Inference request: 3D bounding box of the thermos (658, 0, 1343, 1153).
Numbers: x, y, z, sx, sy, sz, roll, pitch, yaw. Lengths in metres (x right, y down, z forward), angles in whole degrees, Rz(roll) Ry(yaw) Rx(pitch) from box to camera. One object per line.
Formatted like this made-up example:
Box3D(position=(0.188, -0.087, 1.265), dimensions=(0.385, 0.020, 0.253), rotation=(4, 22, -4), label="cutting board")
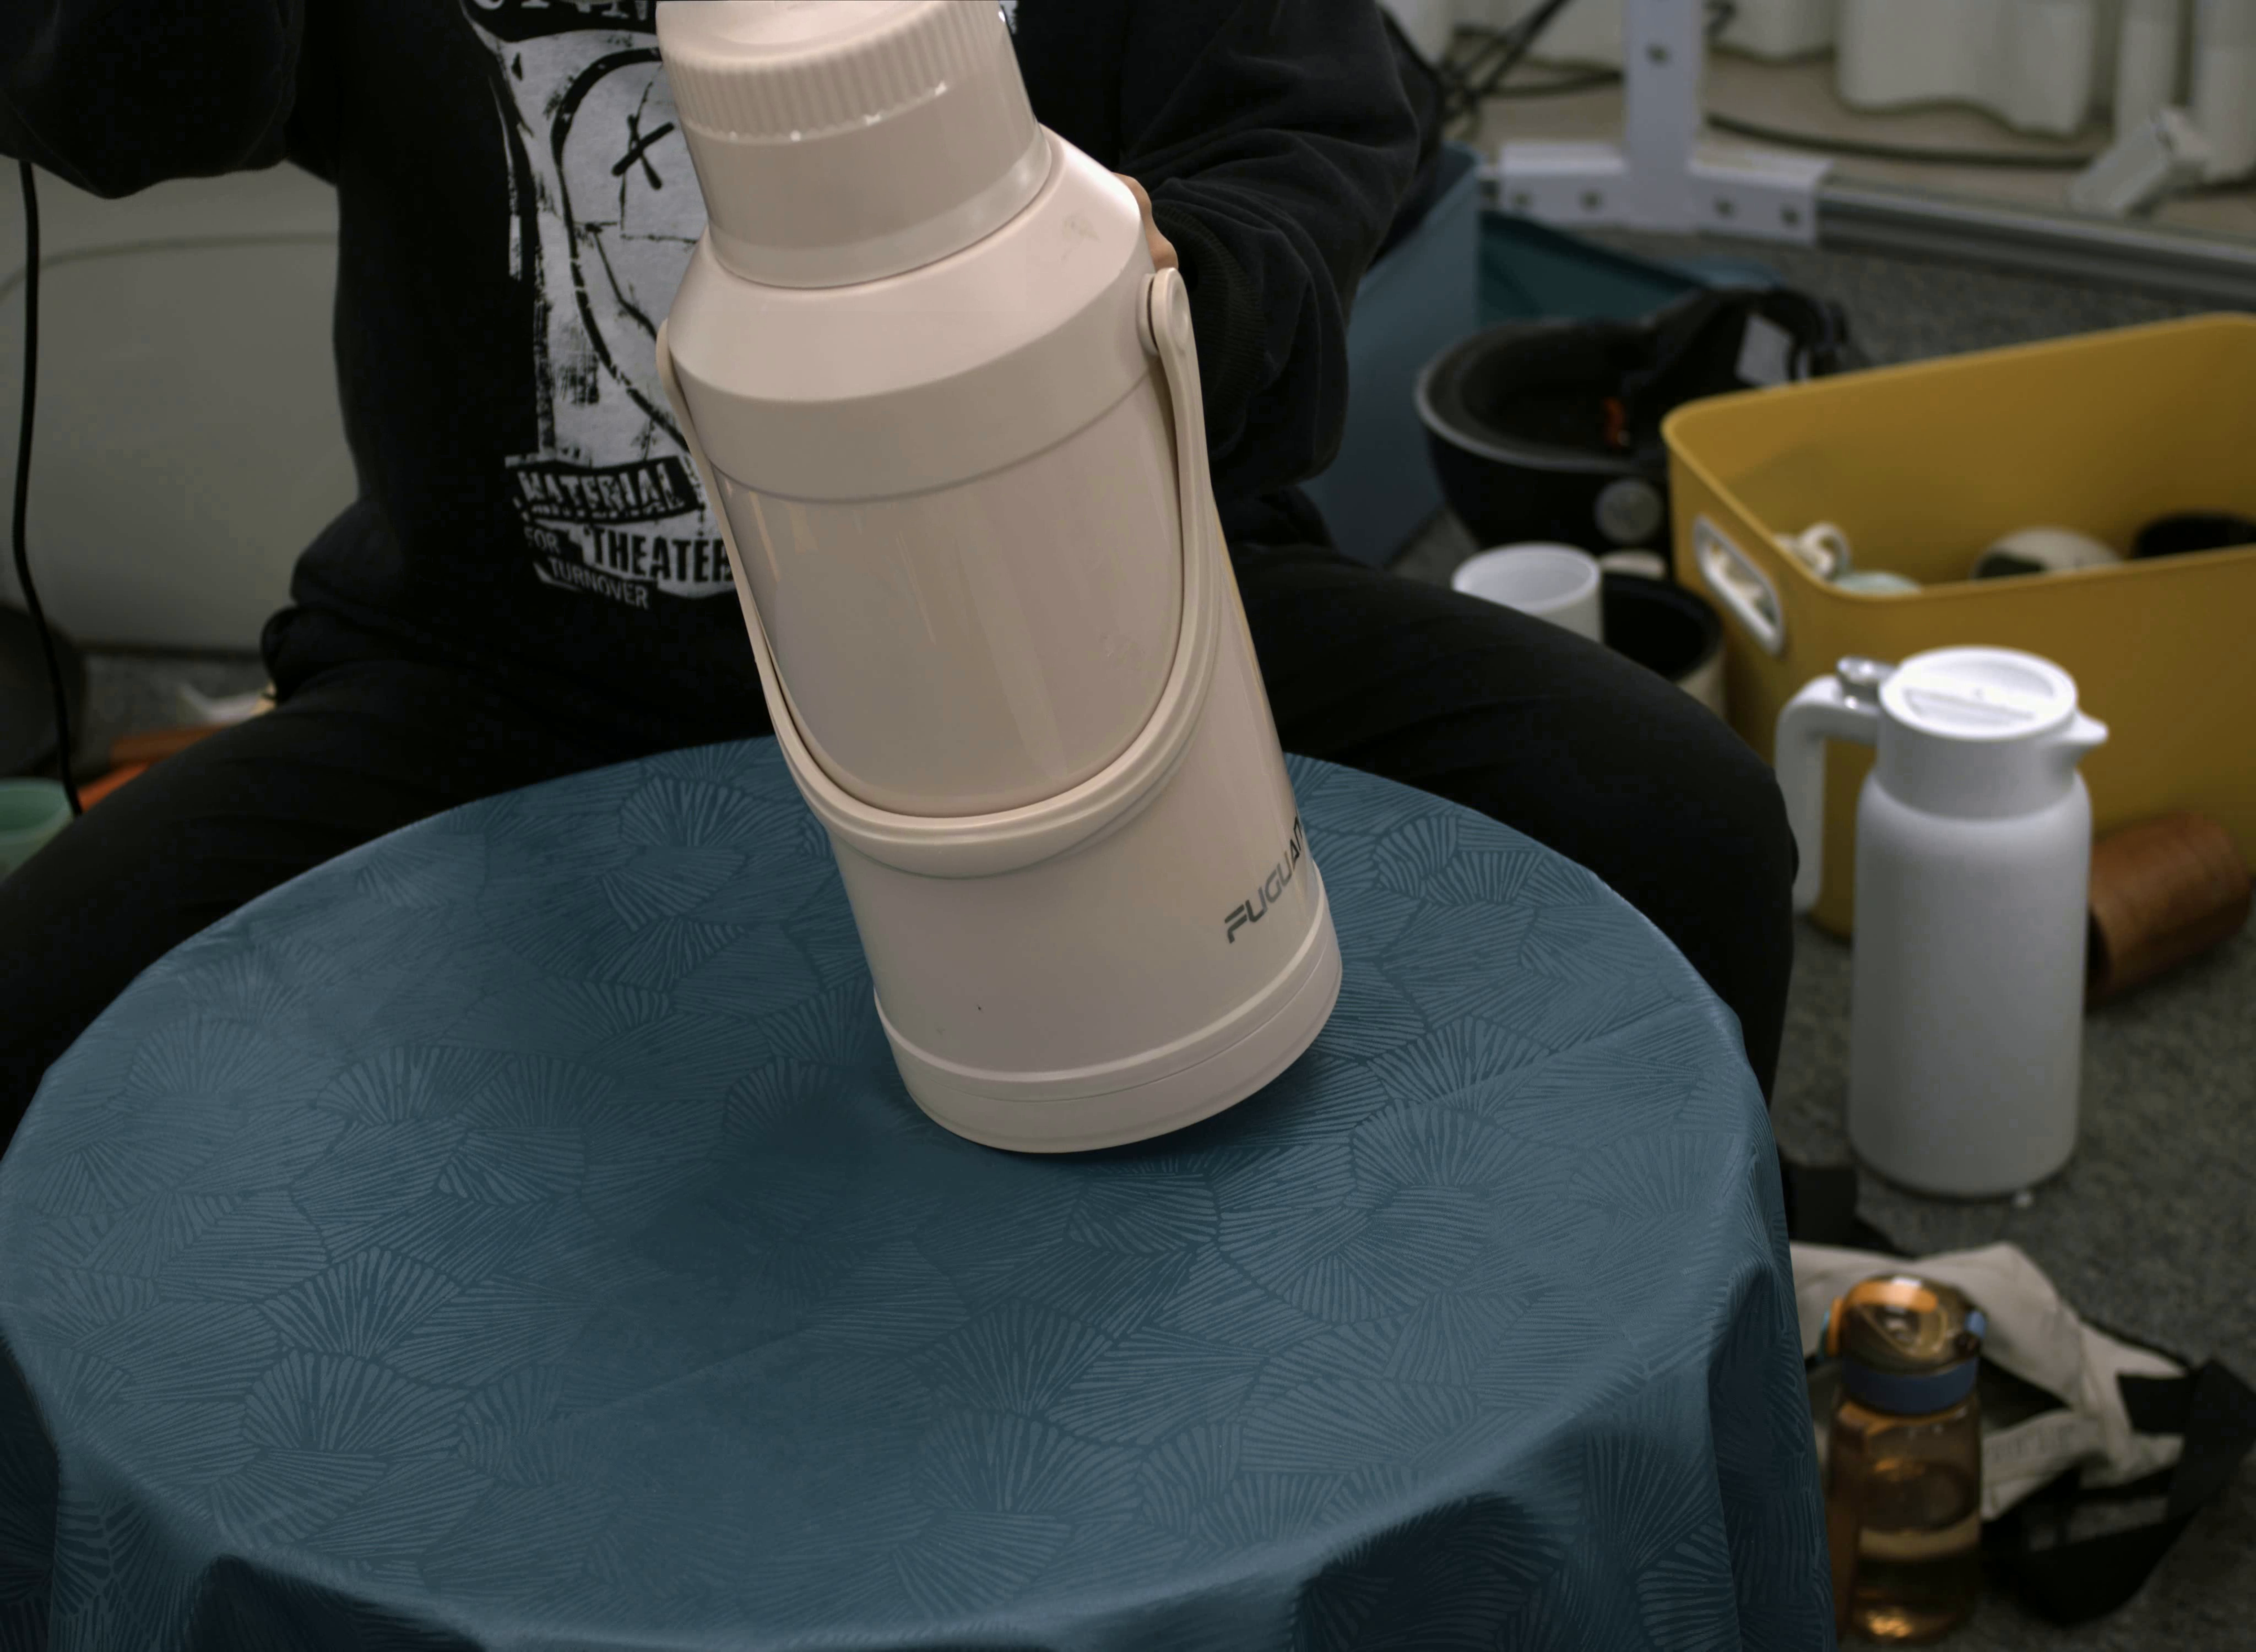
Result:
Box3D(position=(-0.044, -0.106, 1.849), dimensions=(0.174, 0.402, 0.211), rotation=(-6, 32, 18), label="thermos")
